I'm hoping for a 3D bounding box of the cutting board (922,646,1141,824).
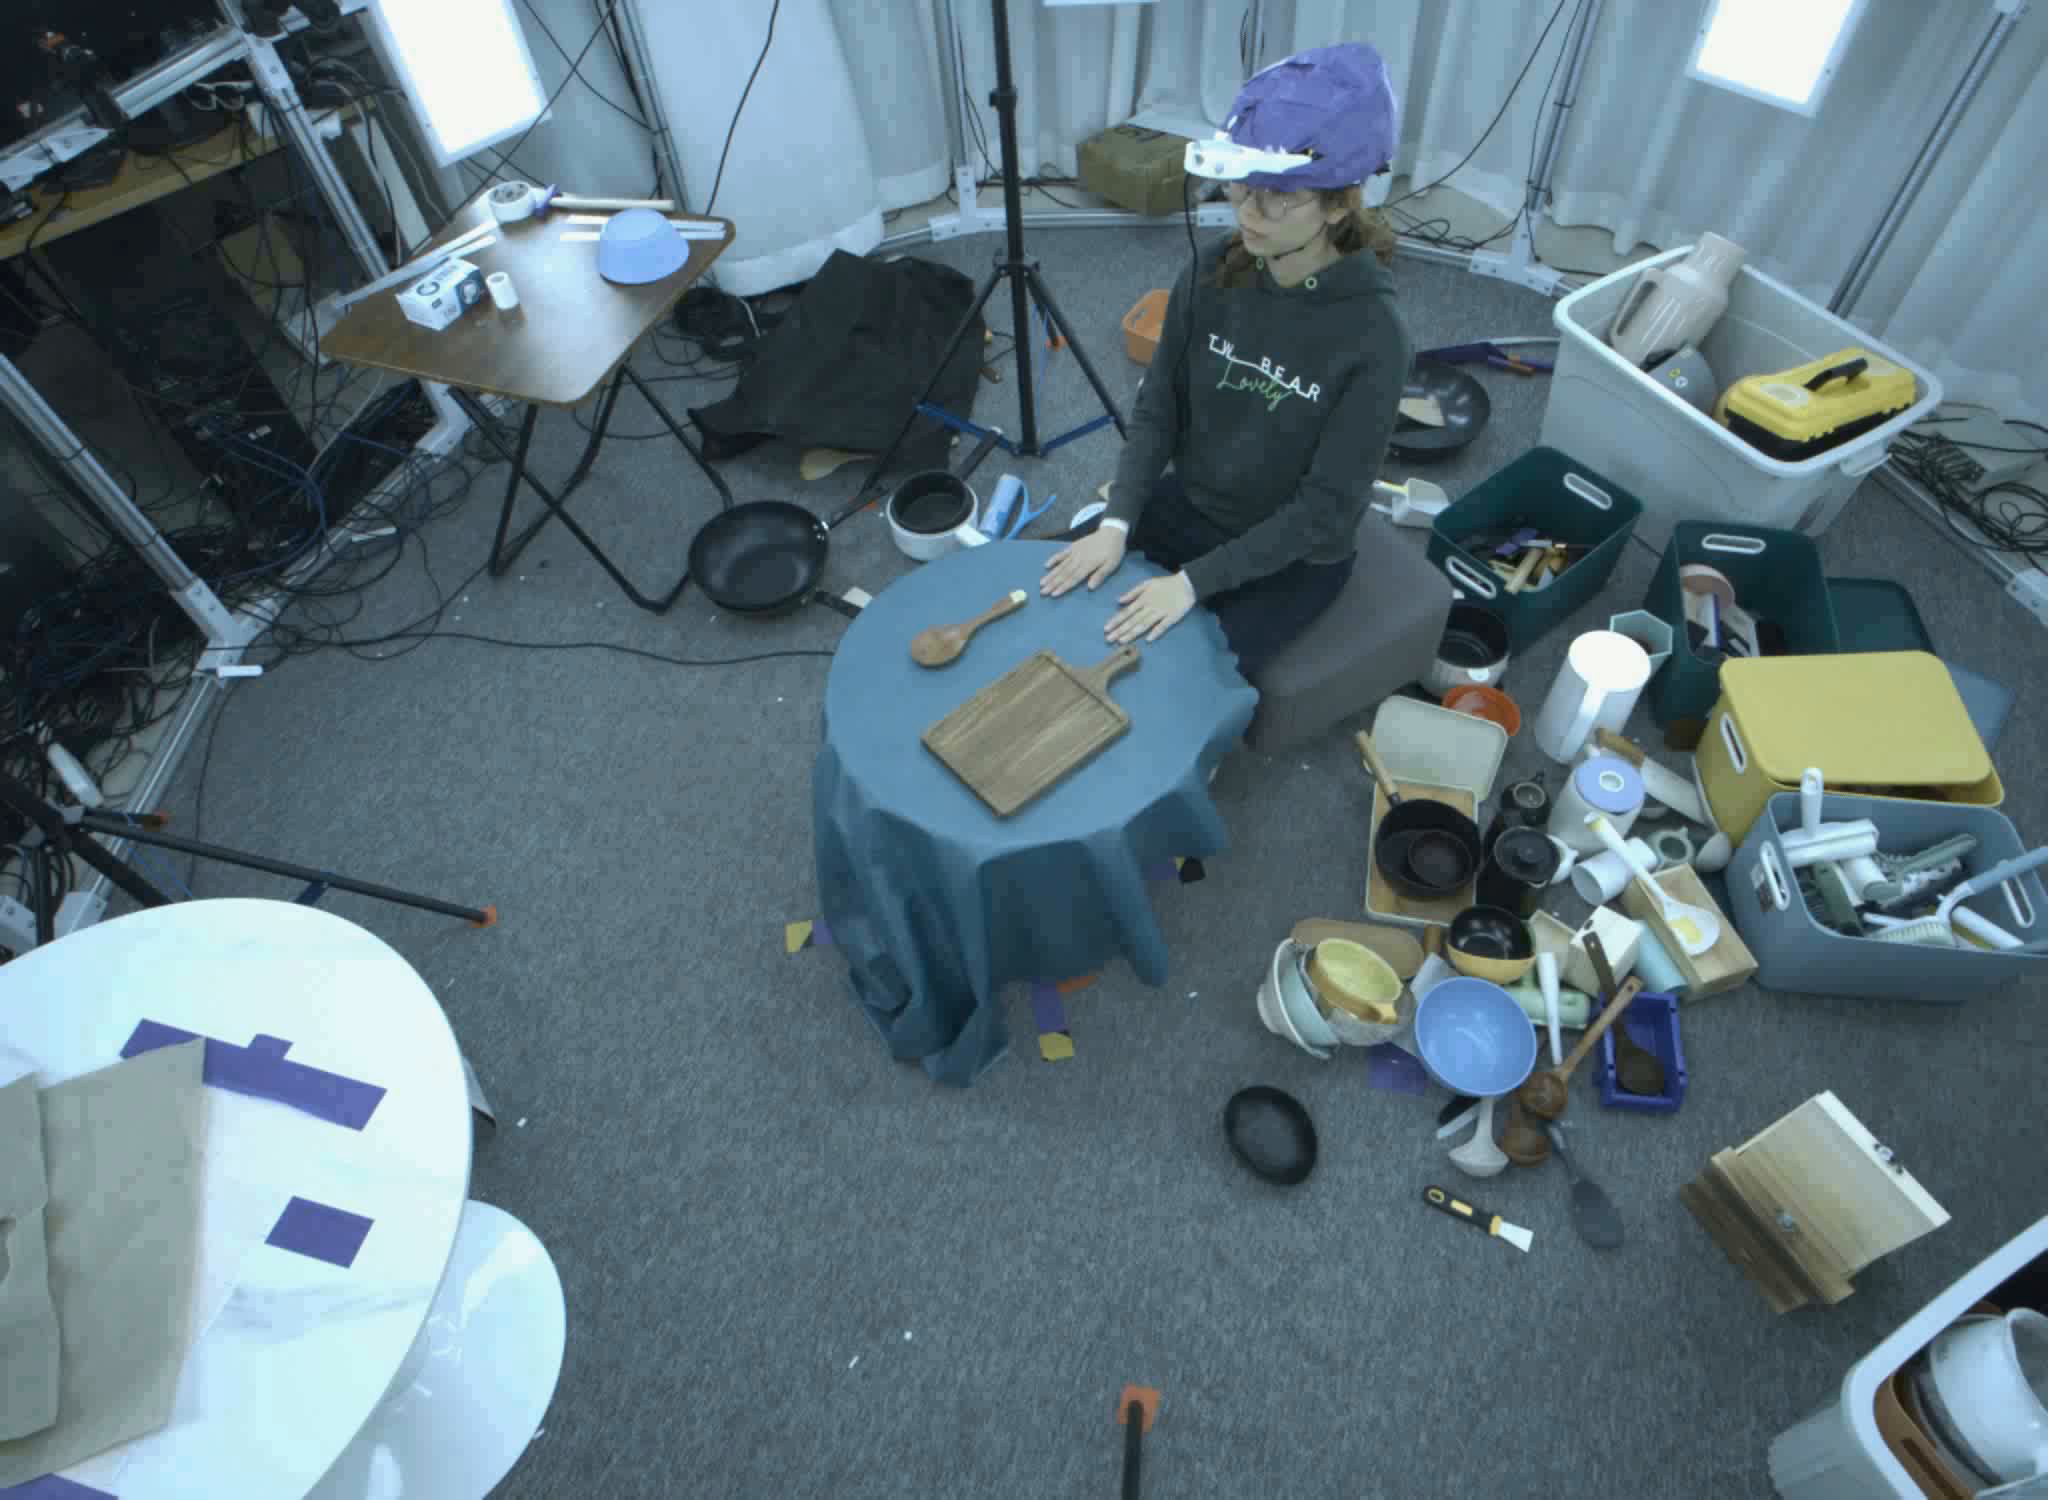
[{"bbox_3d":[0.043,-0.051,1.822,0.355,0.023,0.197,-36,60,-22],"label":"cutting board"}]

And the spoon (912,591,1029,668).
[{"bbox_3d":[-0.080,-0.189,1.922,0.217,0.017,0.074,-34,59,-20],"label":"spoon"}]
